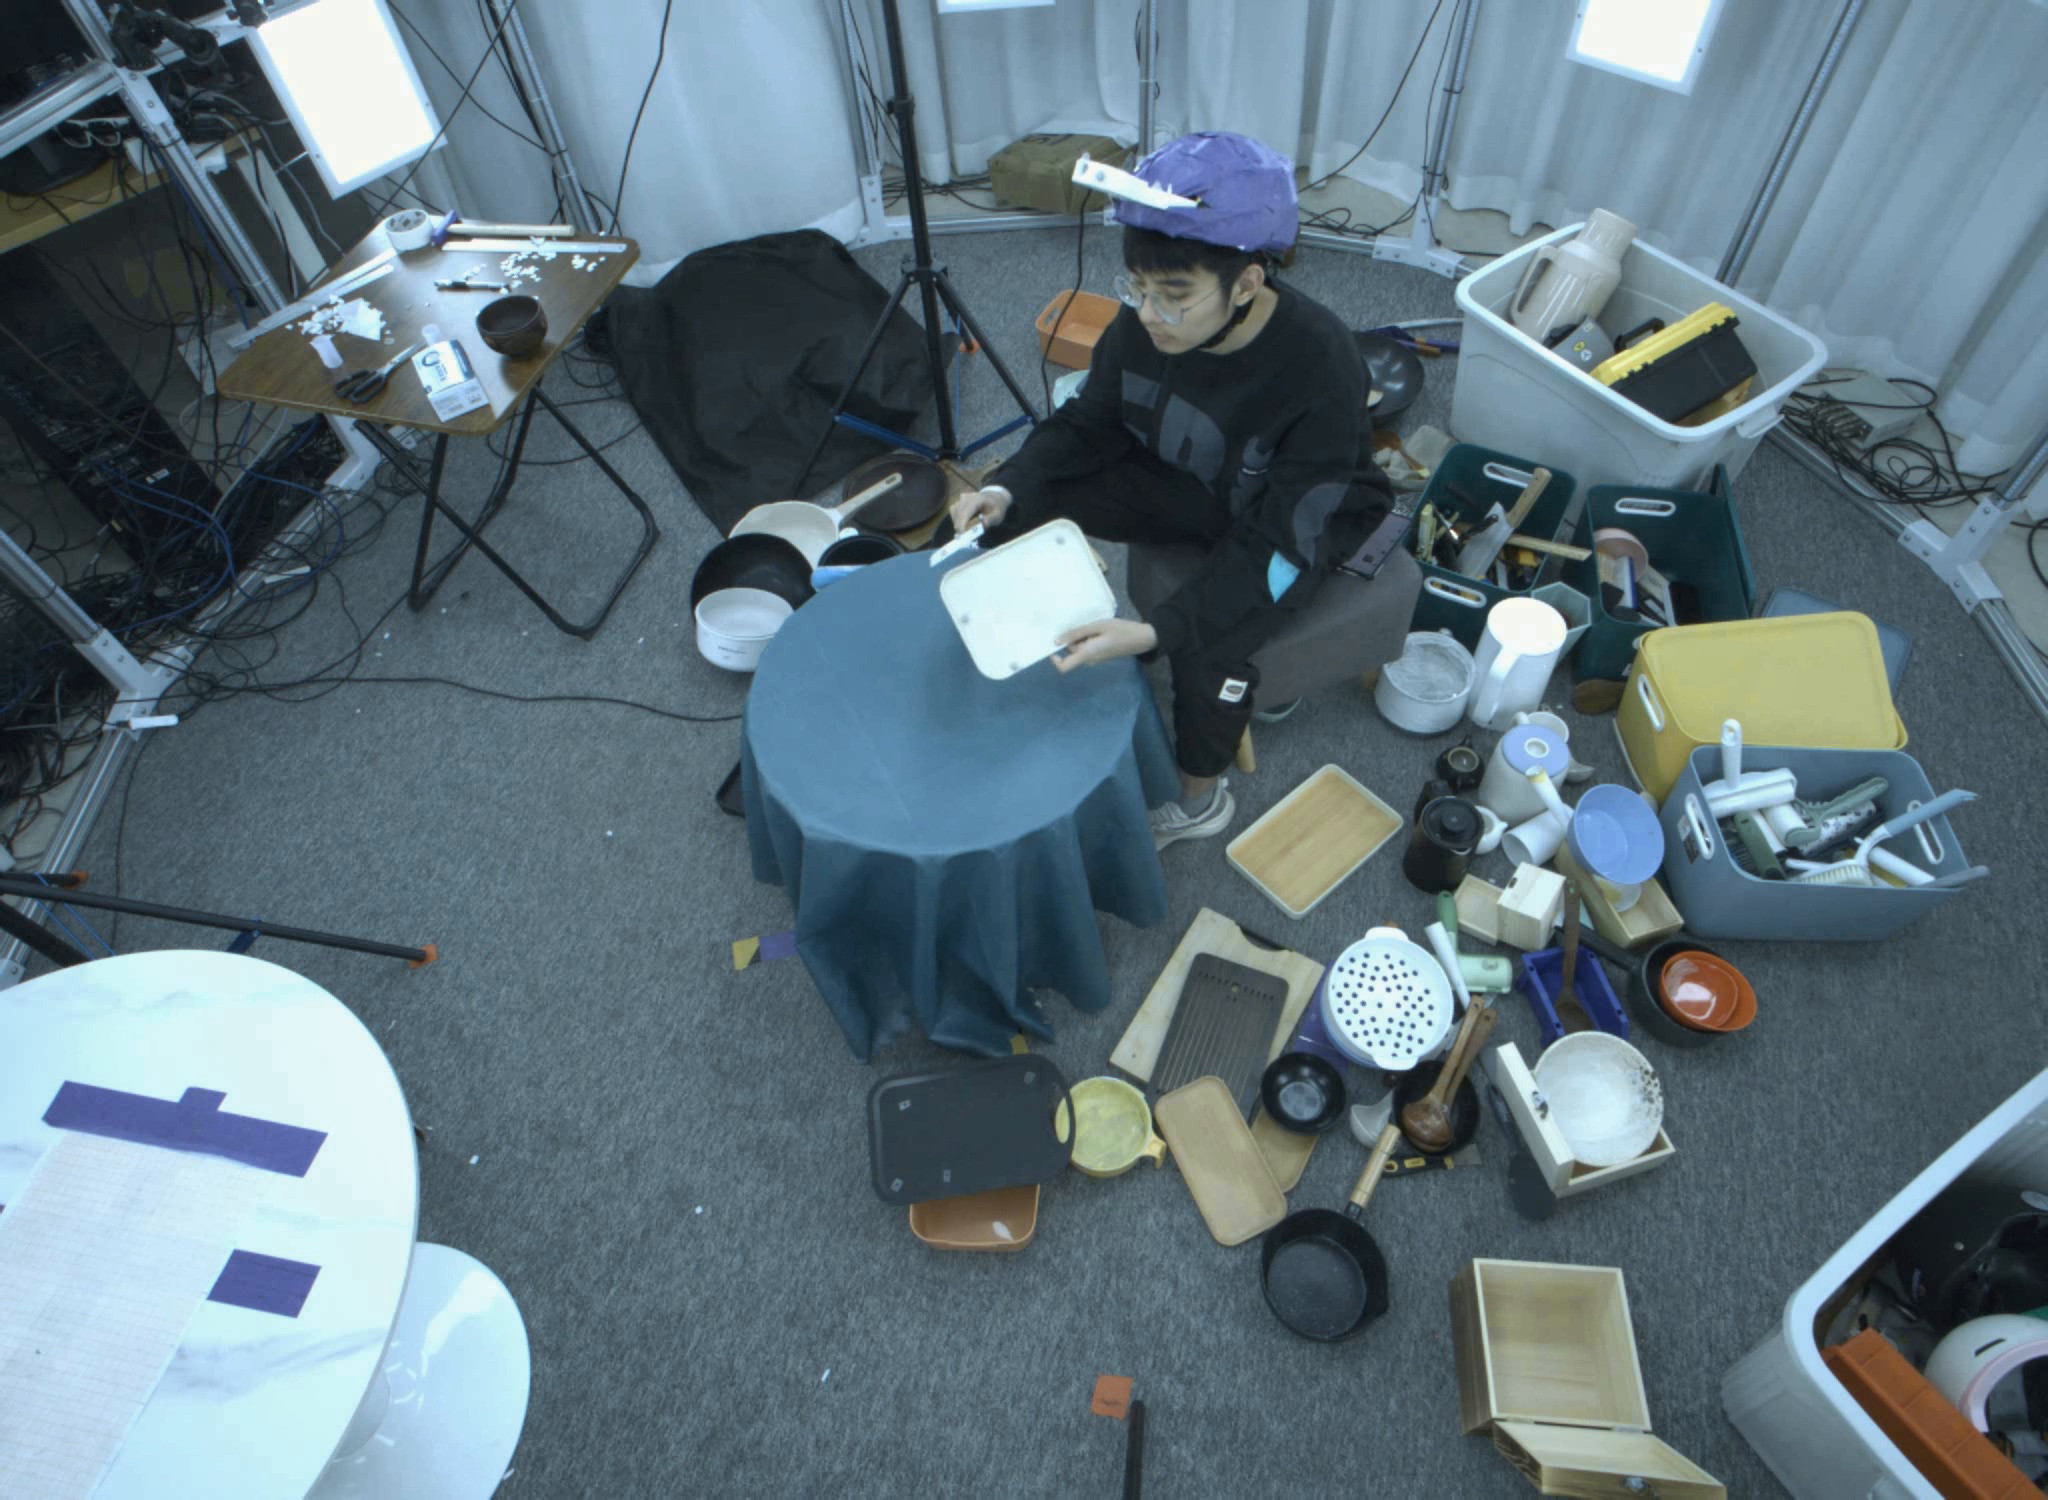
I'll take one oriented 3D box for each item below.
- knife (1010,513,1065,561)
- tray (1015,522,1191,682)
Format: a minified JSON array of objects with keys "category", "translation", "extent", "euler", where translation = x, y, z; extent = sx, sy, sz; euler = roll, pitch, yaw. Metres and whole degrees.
[{"category":"knife","translation":[0.018,-0.313,1.810],"extent":[0.092,0.021,0.304],"euler":[-30,13,8]},{"category":"tray","translation":[0.113,-0.211,1.746],"extent":[0.242,0.017,0.172],"euler":[-26,97,-19]}]
